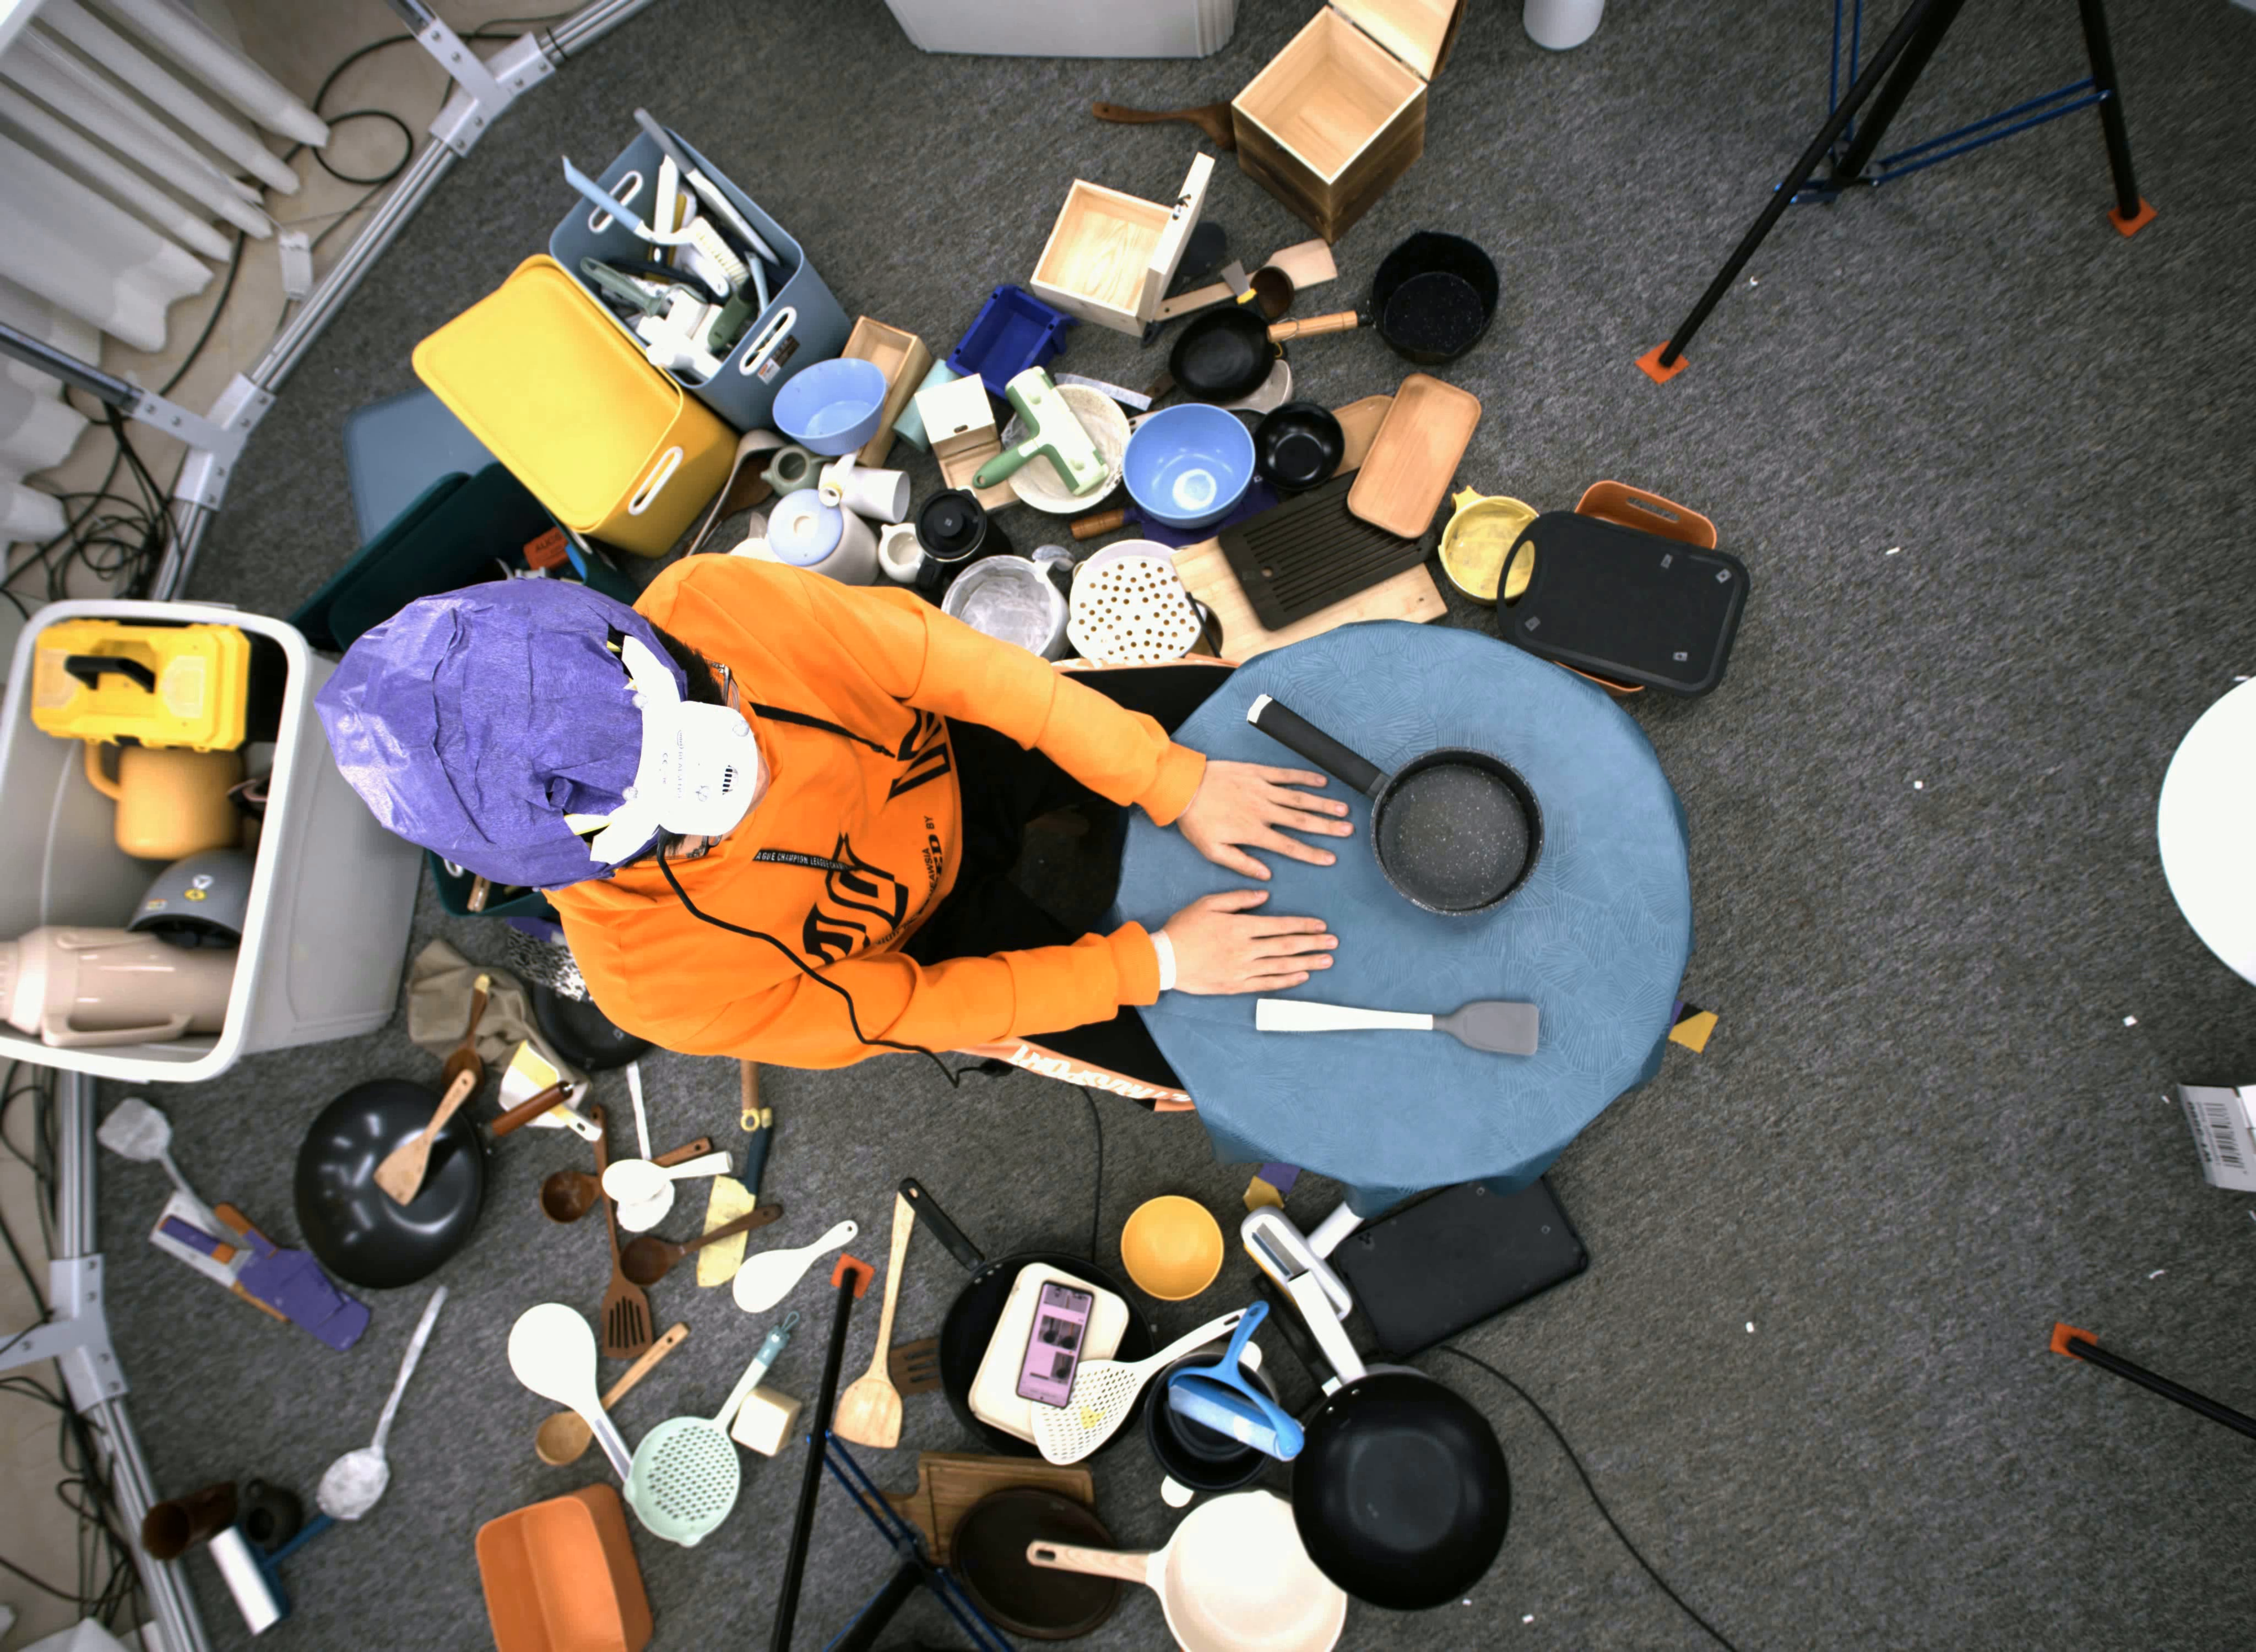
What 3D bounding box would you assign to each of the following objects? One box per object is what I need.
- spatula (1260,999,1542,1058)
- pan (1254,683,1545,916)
[{"bbox_3d":[0.281,0.202,1.435,0.288,0.032,0.058,2,82,11],"label":"spatula"},{"bbox_3d":[0.271,-0.038,1.423,0.328,0.086,0.172,35,92,9],"label":"pan"}]
